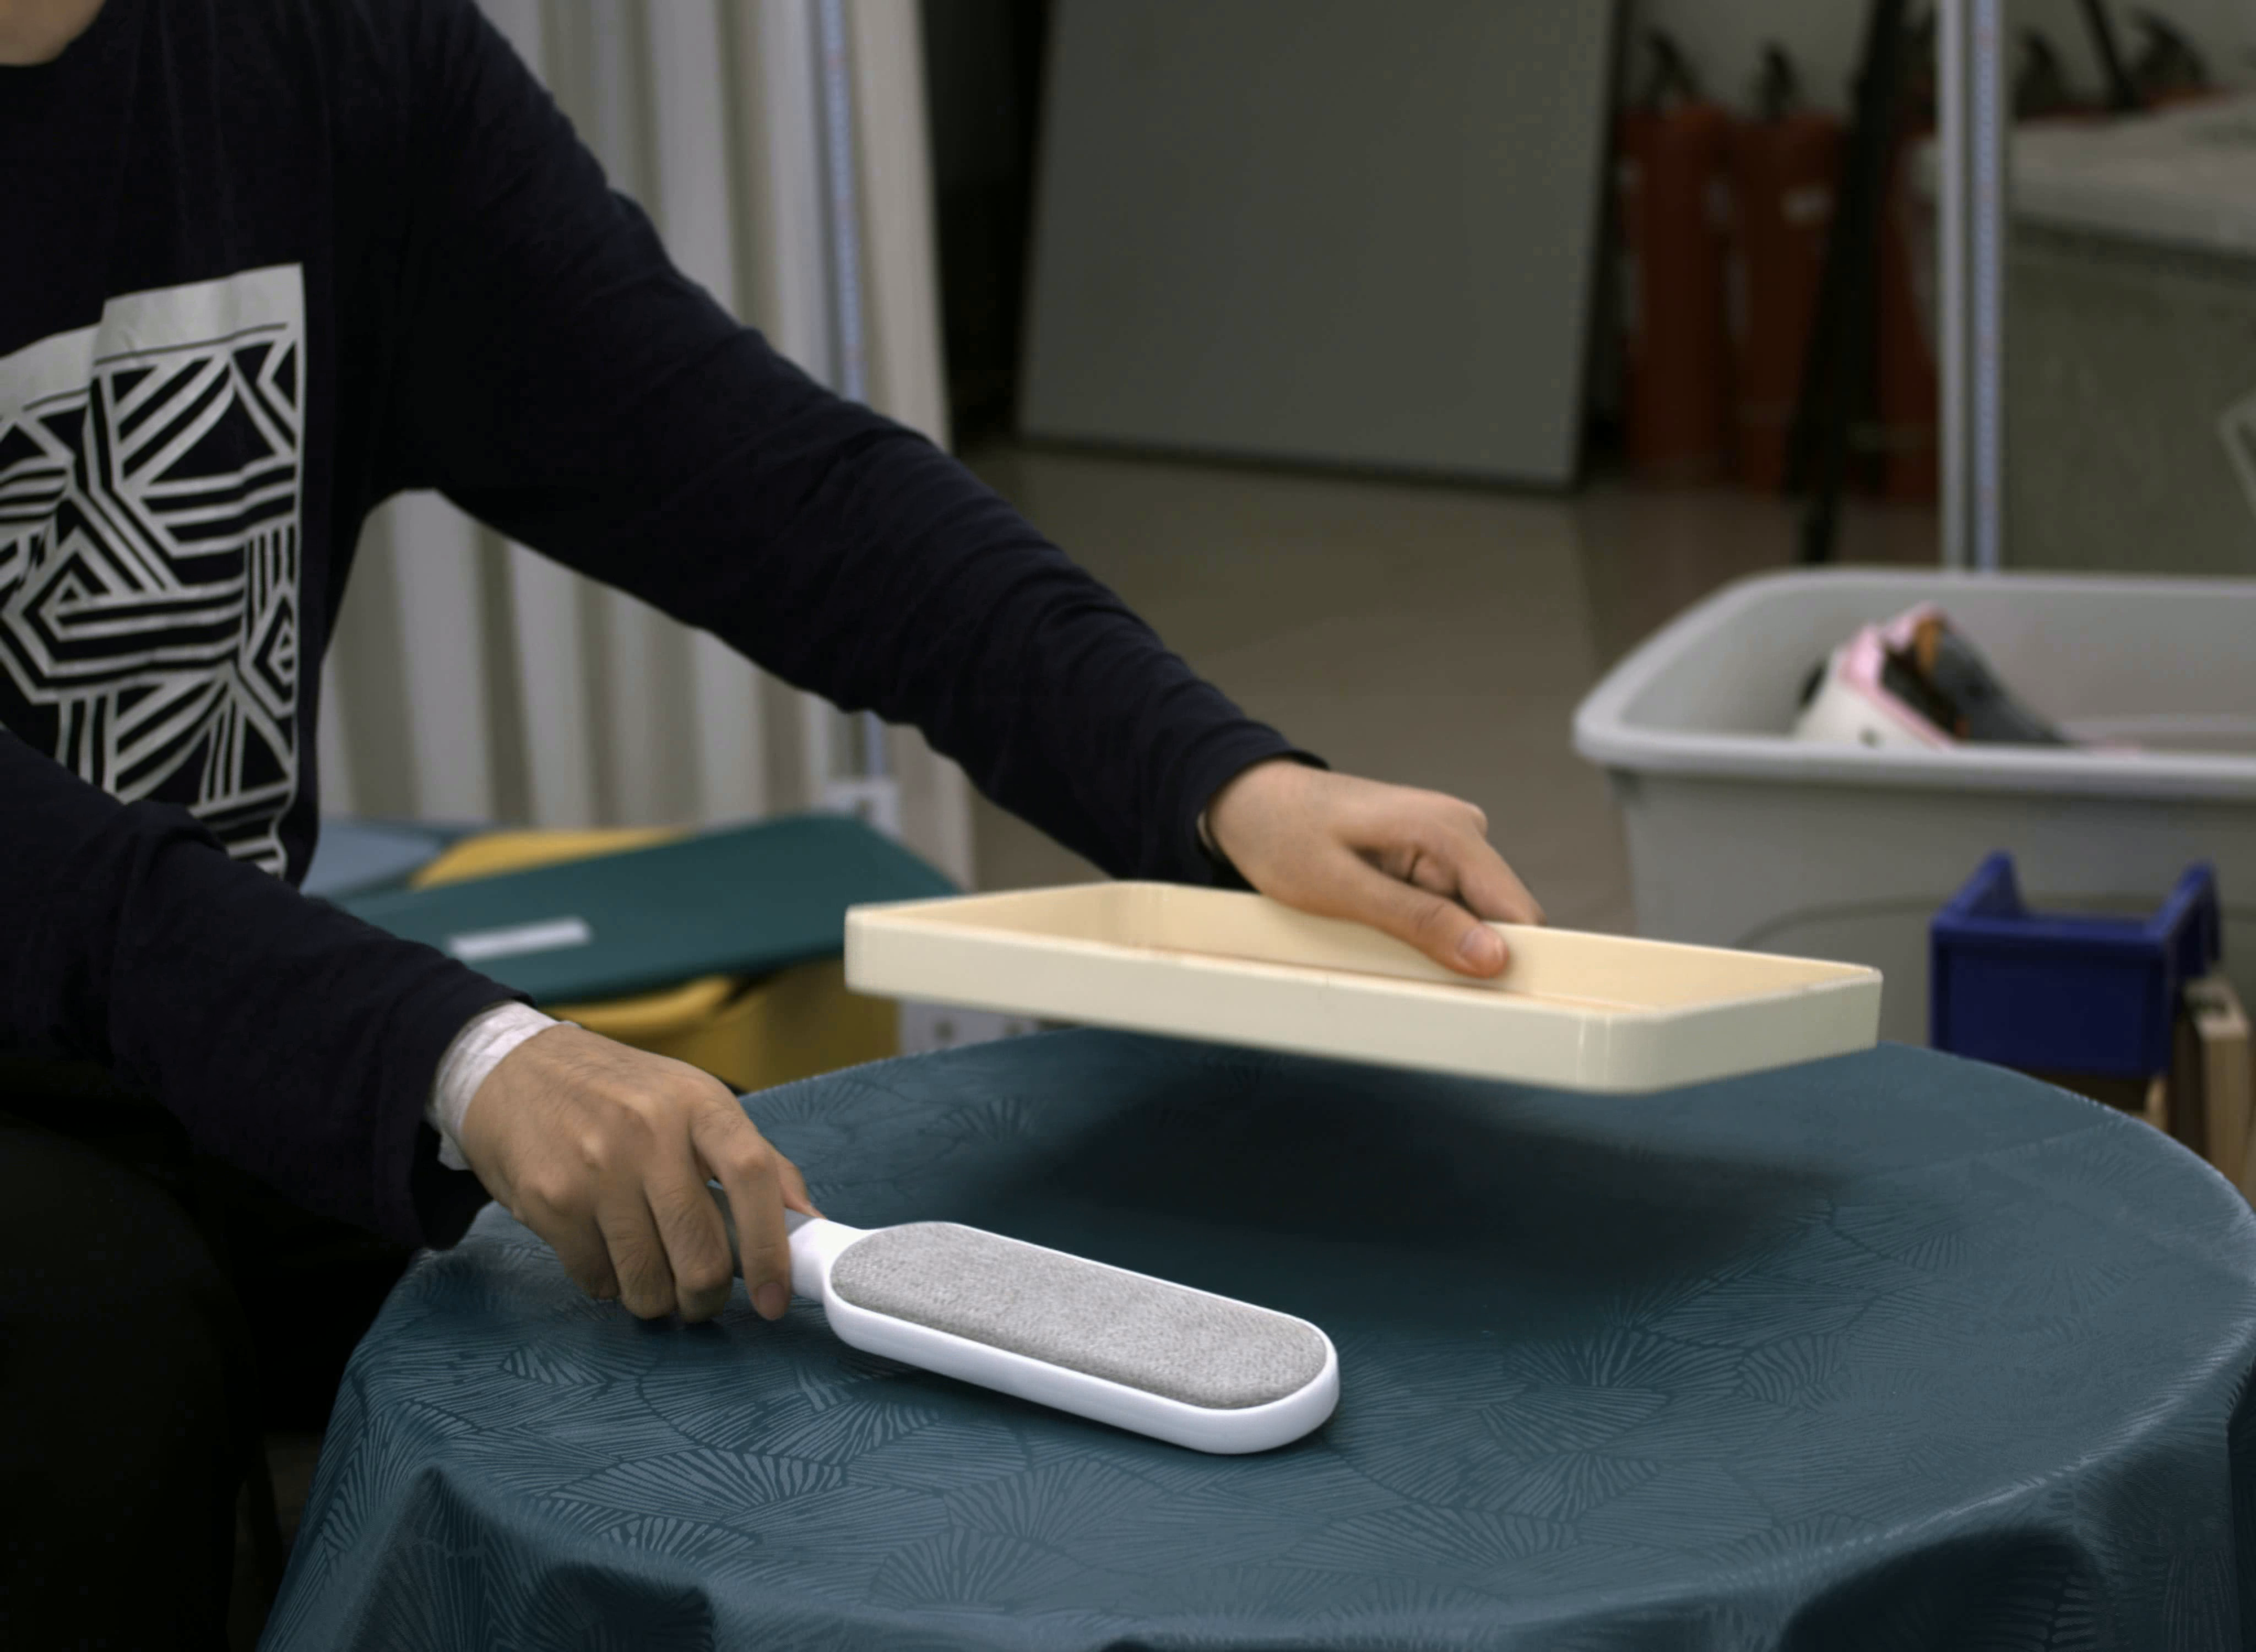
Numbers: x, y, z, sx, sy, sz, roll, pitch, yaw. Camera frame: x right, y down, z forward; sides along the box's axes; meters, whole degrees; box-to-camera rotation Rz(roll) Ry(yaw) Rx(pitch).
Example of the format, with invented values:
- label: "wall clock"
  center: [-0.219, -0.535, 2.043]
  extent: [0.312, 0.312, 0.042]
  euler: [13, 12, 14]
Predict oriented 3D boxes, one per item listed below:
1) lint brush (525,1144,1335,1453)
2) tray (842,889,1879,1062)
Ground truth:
- label: "lint brush"
  center: [-0.066, 0.136, 1.622]
  extent: [0.311, 0.021, 0.059]
  euler: [12, 40, 38]
- label: "tray"
  center: [0.074, 0.046, 1.744]
  extent: [0.302, 0.028, 0.188]
  euler: [5, 3, 35]
